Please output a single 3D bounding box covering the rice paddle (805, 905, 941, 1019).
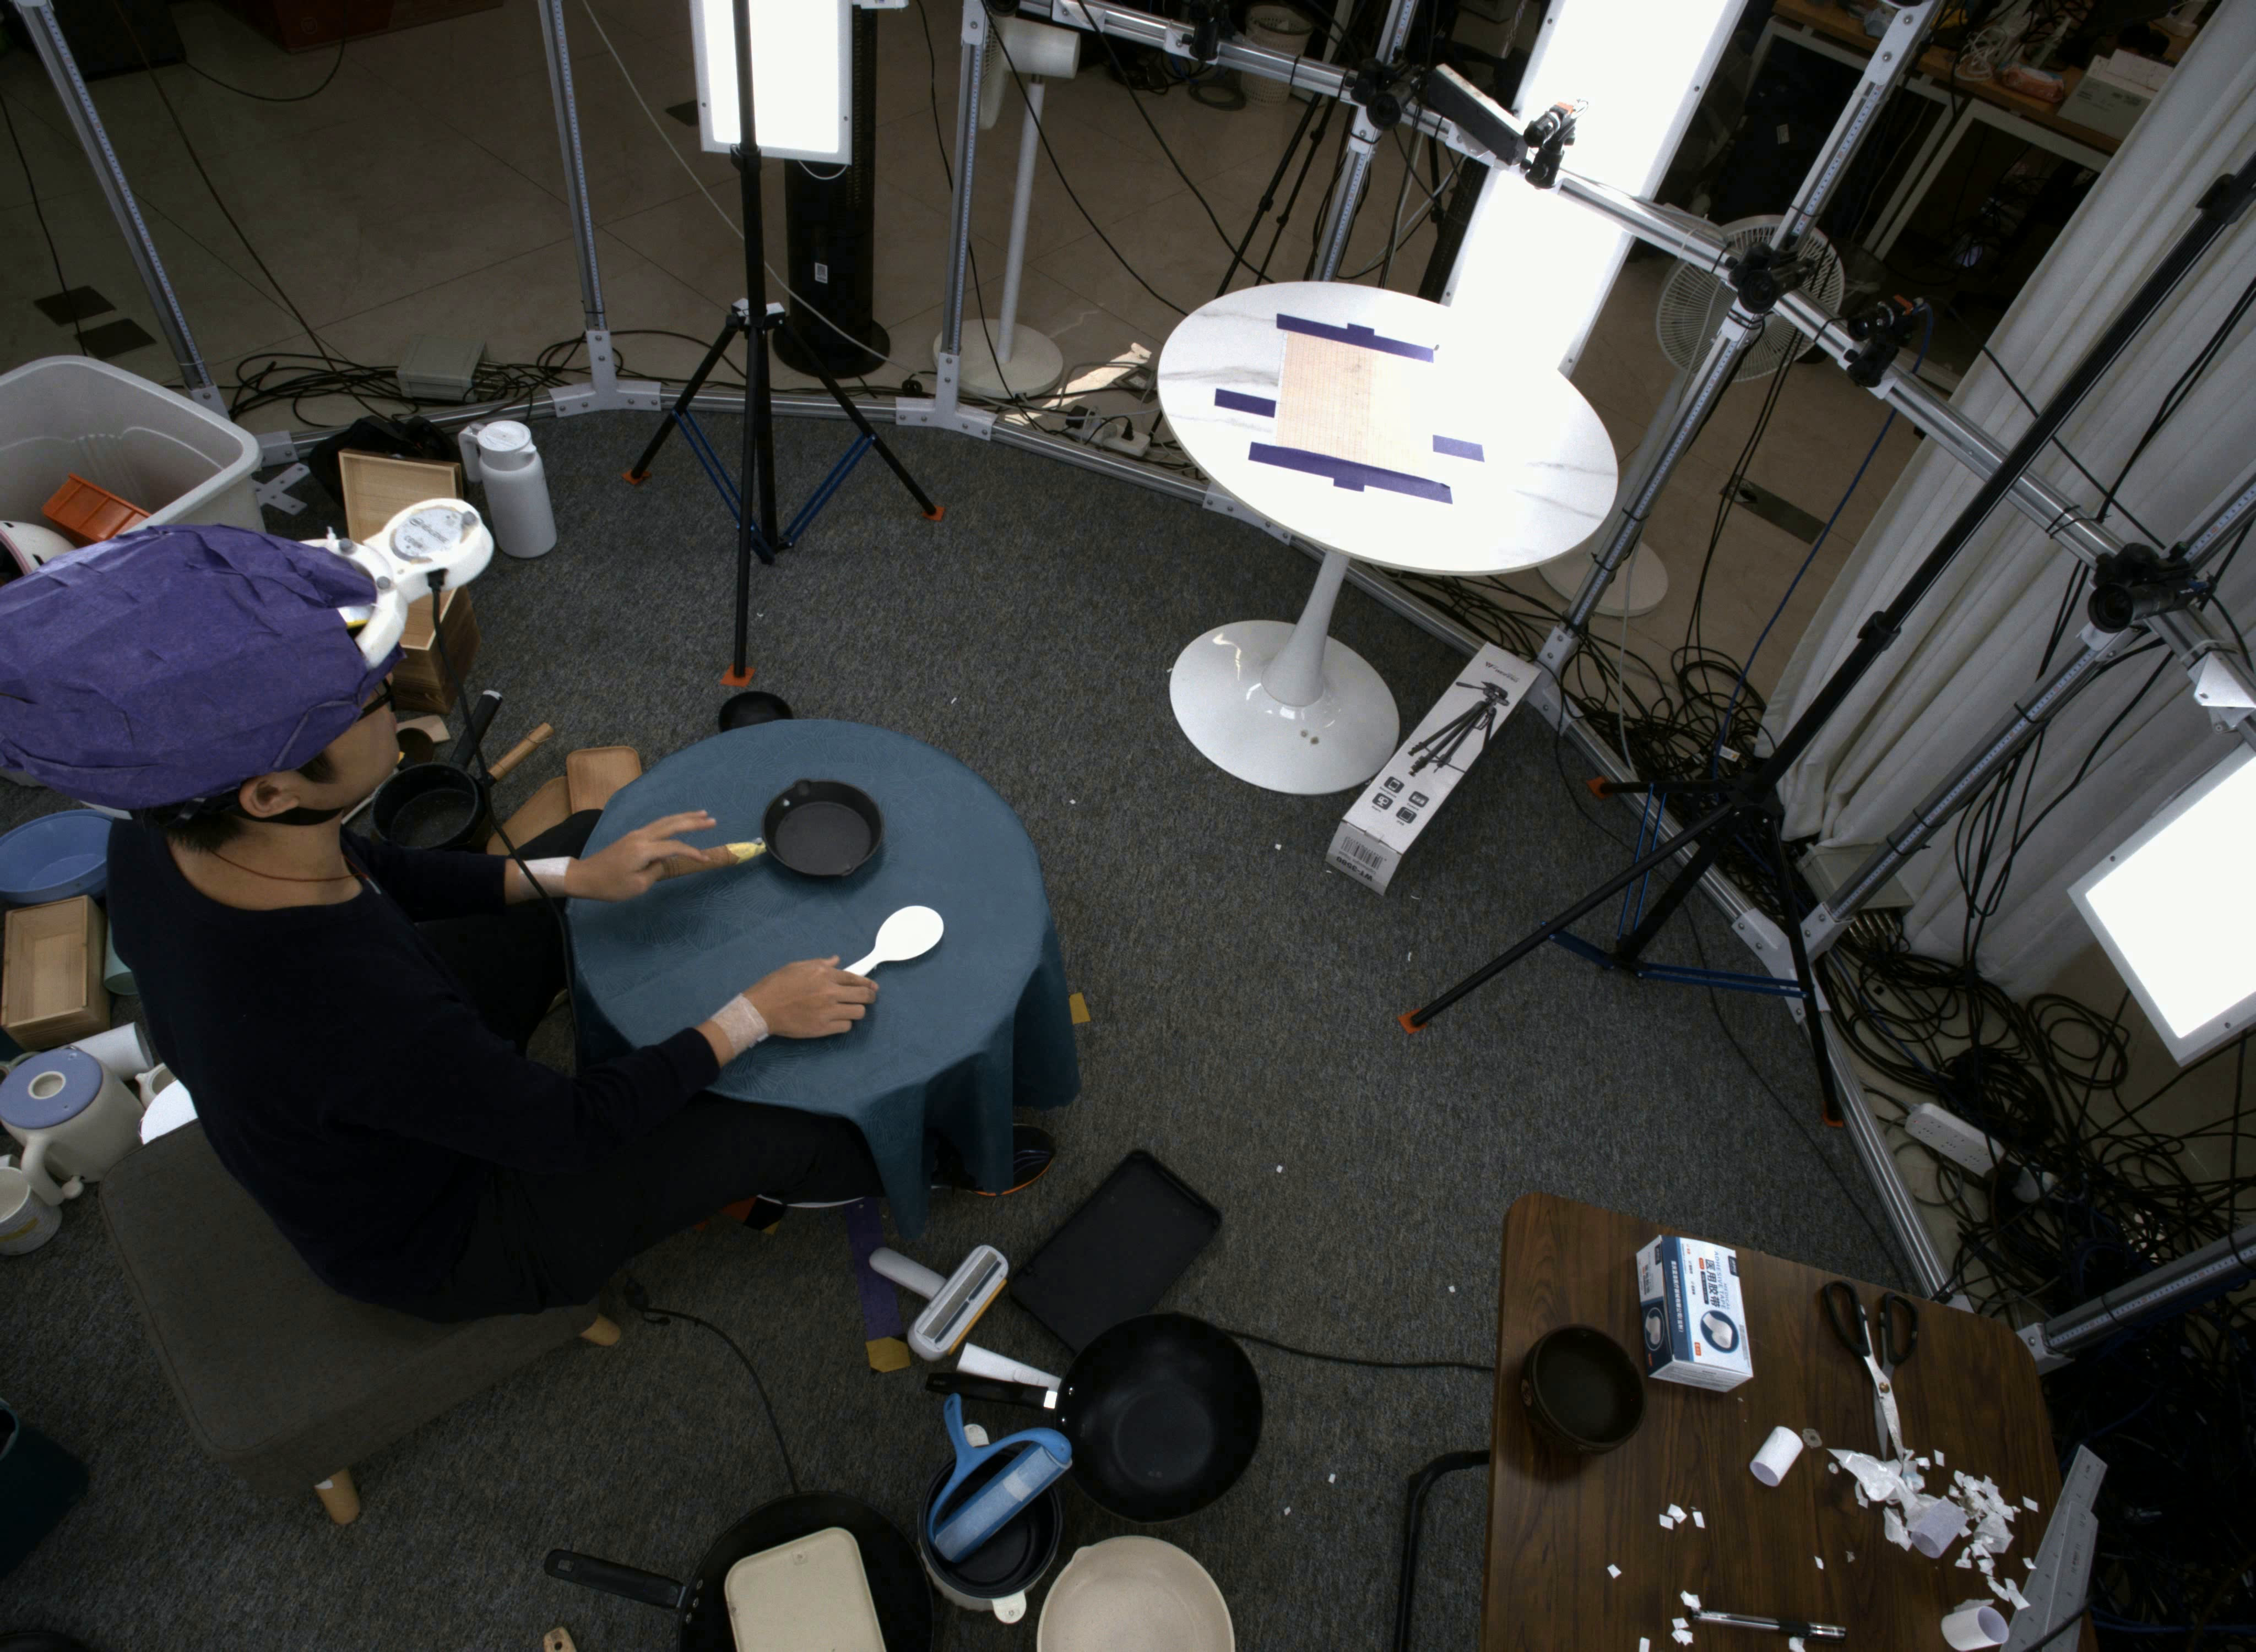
[{"bbox_3d":[-0.312,0.161,1.605,0.067,0.030,0.205,40,55,14],"label":"rice paddle"}]

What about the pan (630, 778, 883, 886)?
[{"bbox_3d":[-0.472,0.025,1.650,0.326,0.050,0.165,-16,59,-27],"label":"pan"}]
